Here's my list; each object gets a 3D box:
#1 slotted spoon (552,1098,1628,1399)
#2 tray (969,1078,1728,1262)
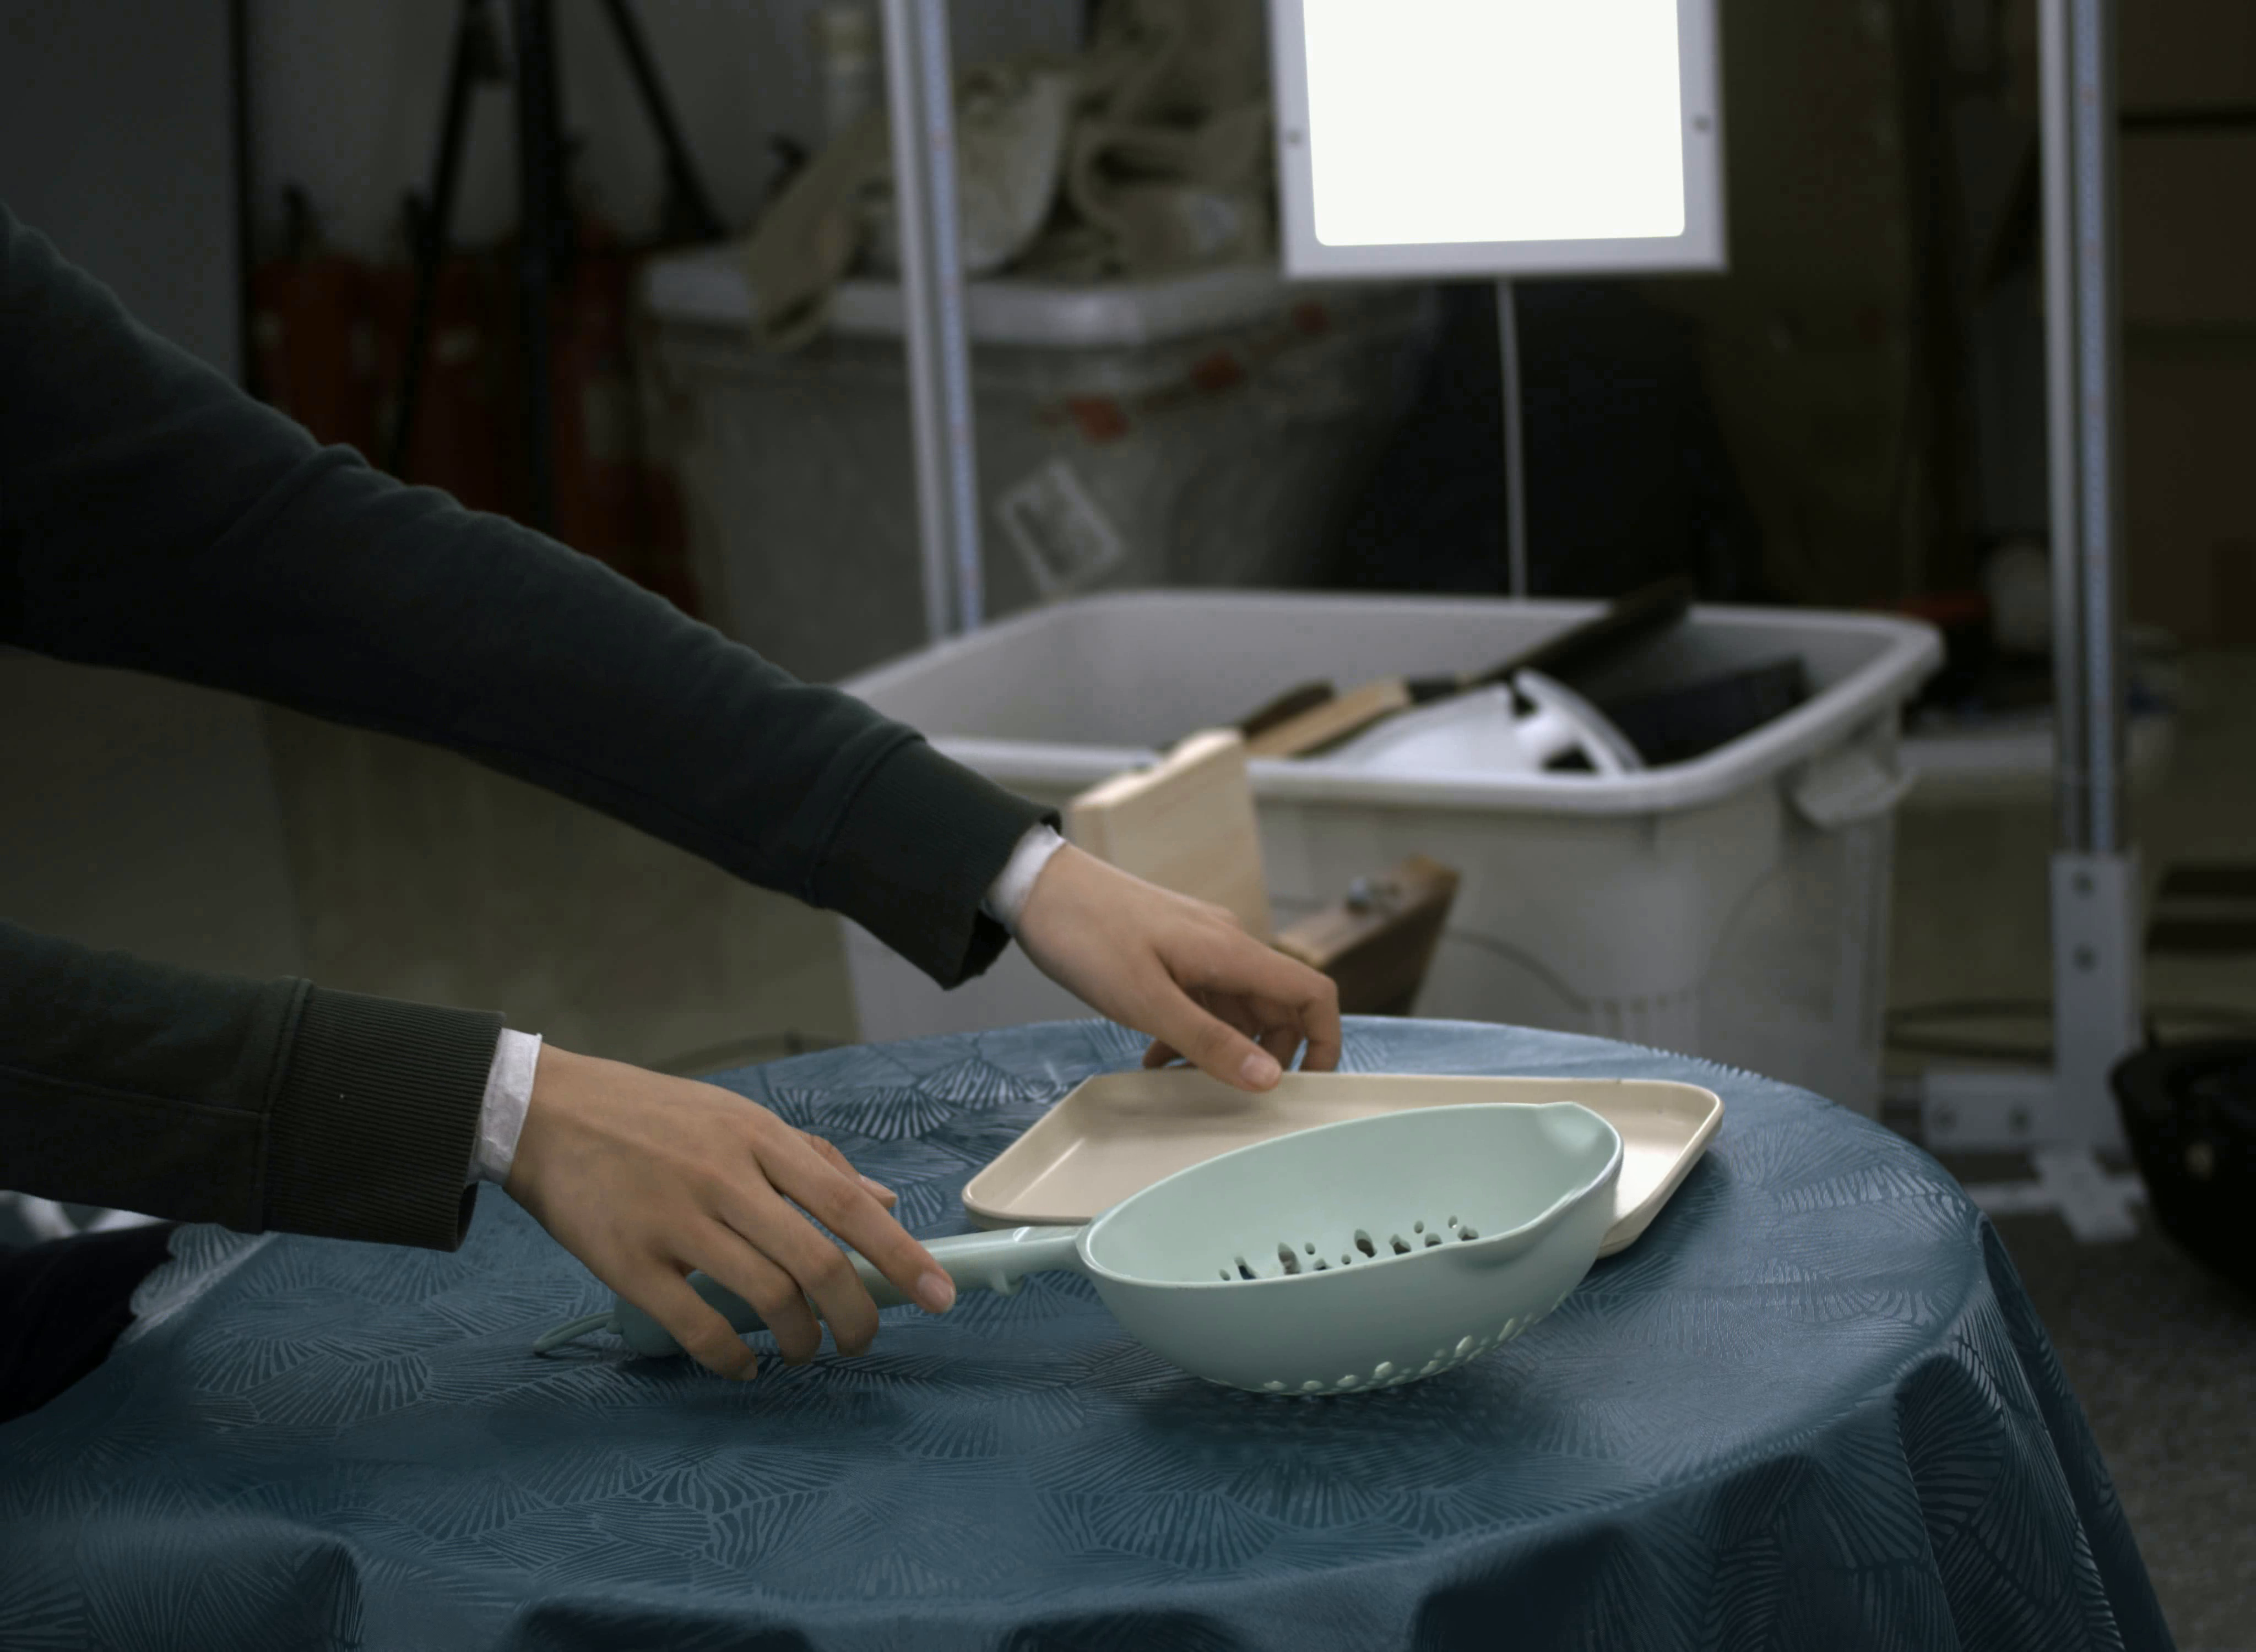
[{"bbox_3d":[-0.019,0.138,1.725,0.363,0.075,0.166,-1,13,19],"label":"slotted spoon"},{"bbox_3d":[0.077,0.117,1.874,0.243,0.017,0.168,-1,14,21],"label":"tray"}]
